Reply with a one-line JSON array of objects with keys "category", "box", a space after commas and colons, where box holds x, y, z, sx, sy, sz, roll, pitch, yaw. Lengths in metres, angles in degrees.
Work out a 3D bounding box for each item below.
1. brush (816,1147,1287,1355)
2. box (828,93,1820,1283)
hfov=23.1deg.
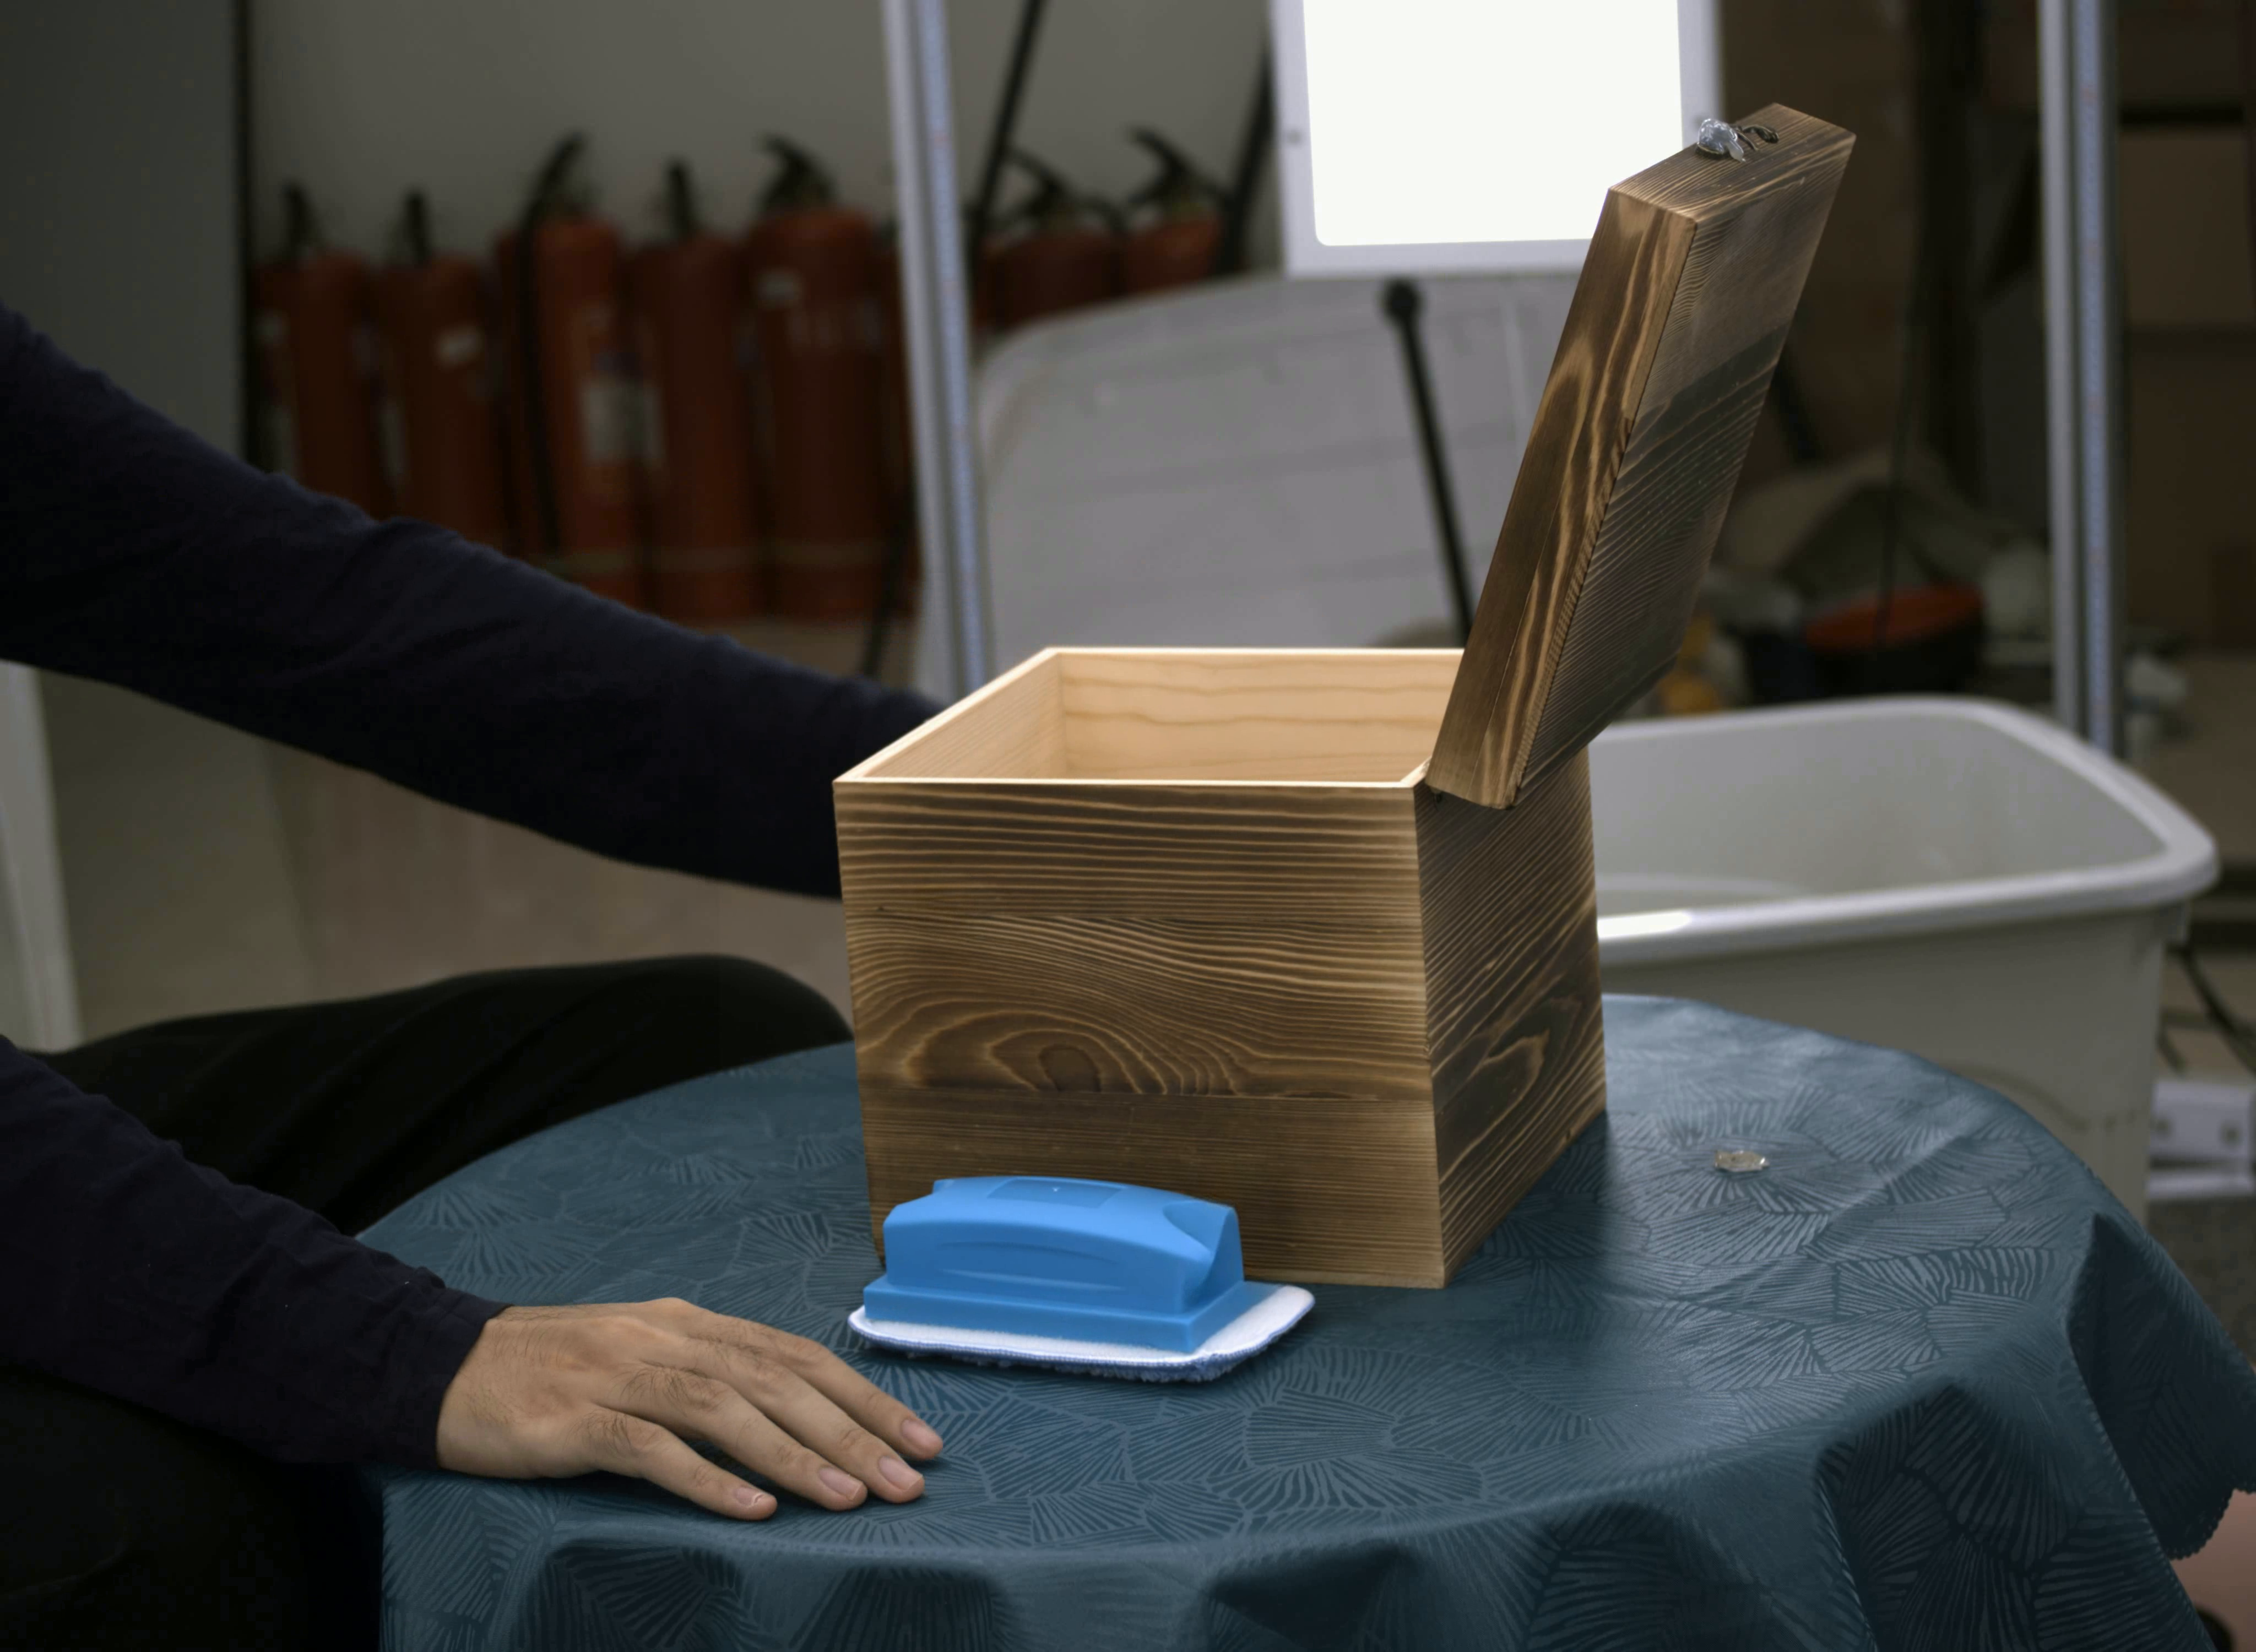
[{"category": "brush", "box": [-0.024, 0.134, 1.750, 0.147, 0.056, 0.082, 6, 14, 32]}, {"category": "box", "box": [0.077, -0.051, 1.834, 0.327, 0.377, 0.205, 1, 14, 22]}]
